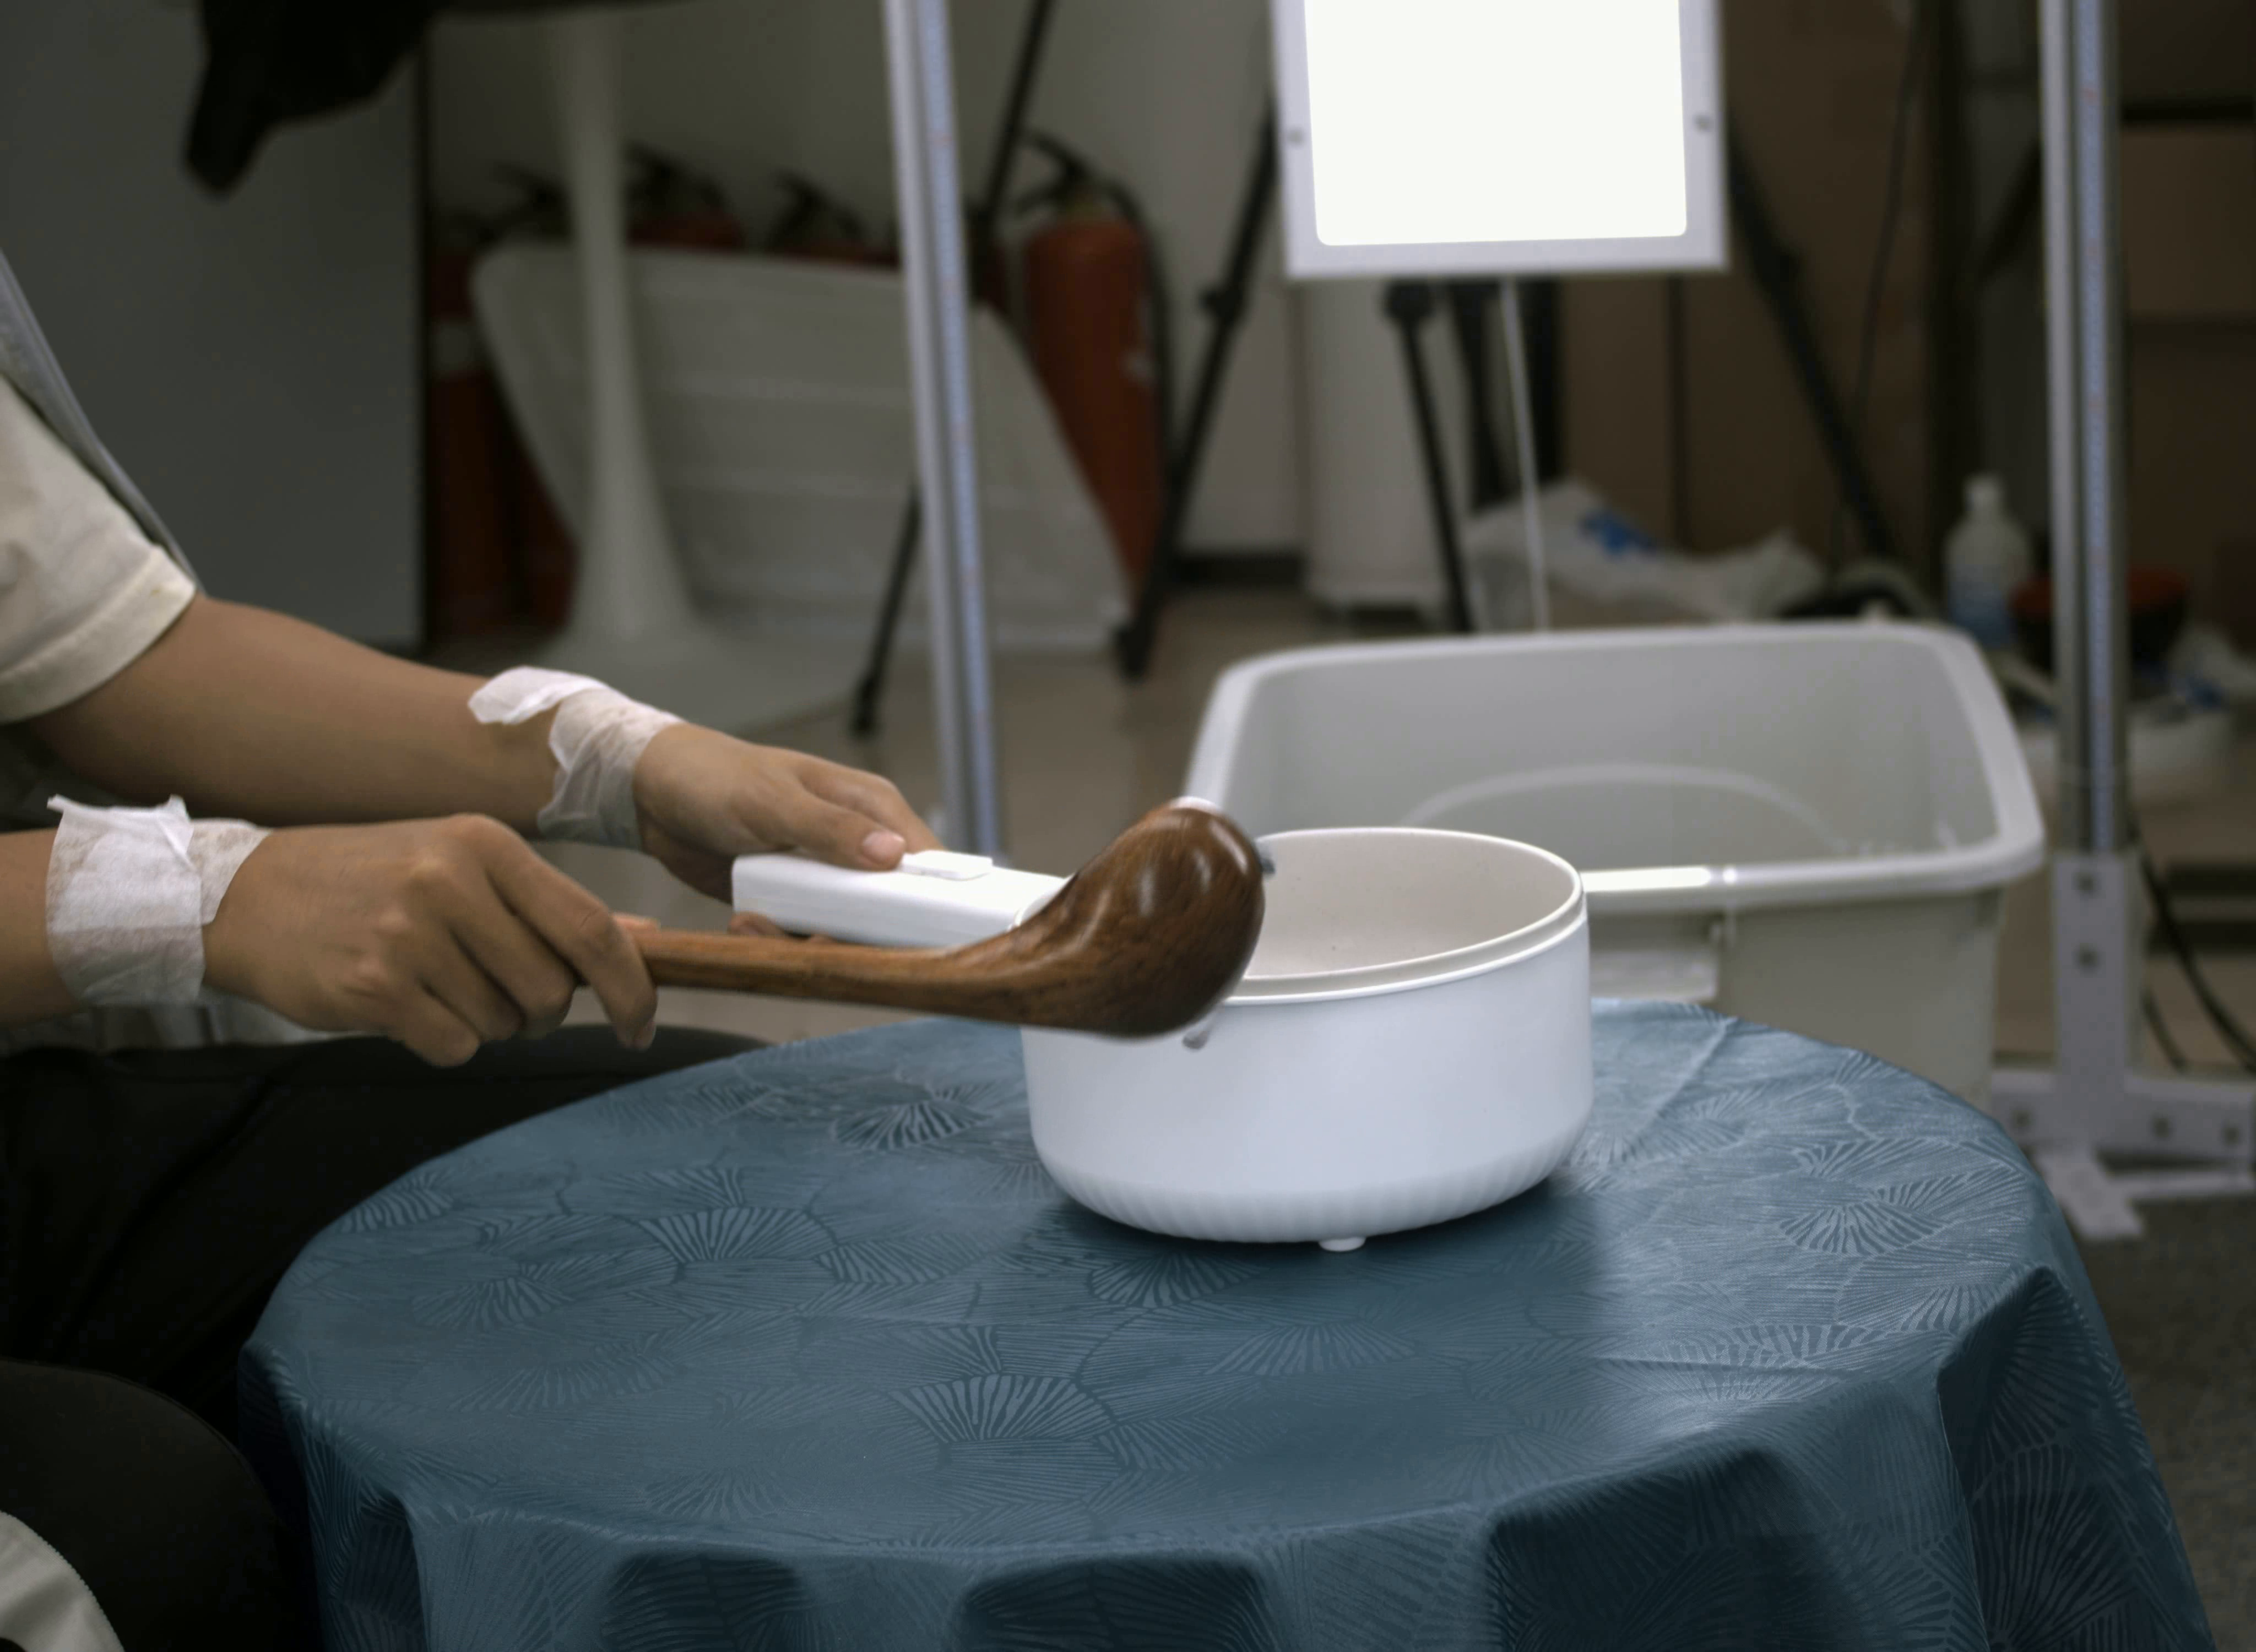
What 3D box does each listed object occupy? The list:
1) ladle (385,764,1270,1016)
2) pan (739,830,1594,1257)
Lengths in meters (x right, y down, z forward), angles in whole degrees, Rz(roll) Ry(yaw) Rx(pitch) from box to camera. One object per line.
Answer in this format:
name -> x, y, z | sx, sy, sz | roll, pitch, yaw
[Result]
ladle -> -0.093, 0.023, 1.716 | 0.276, 0.082, 0.076 | -1, 35, 15
pan -> 0.003, 0.069, 1.929 | 0.362, 0.102, 0.196 | 6, 19, 42
